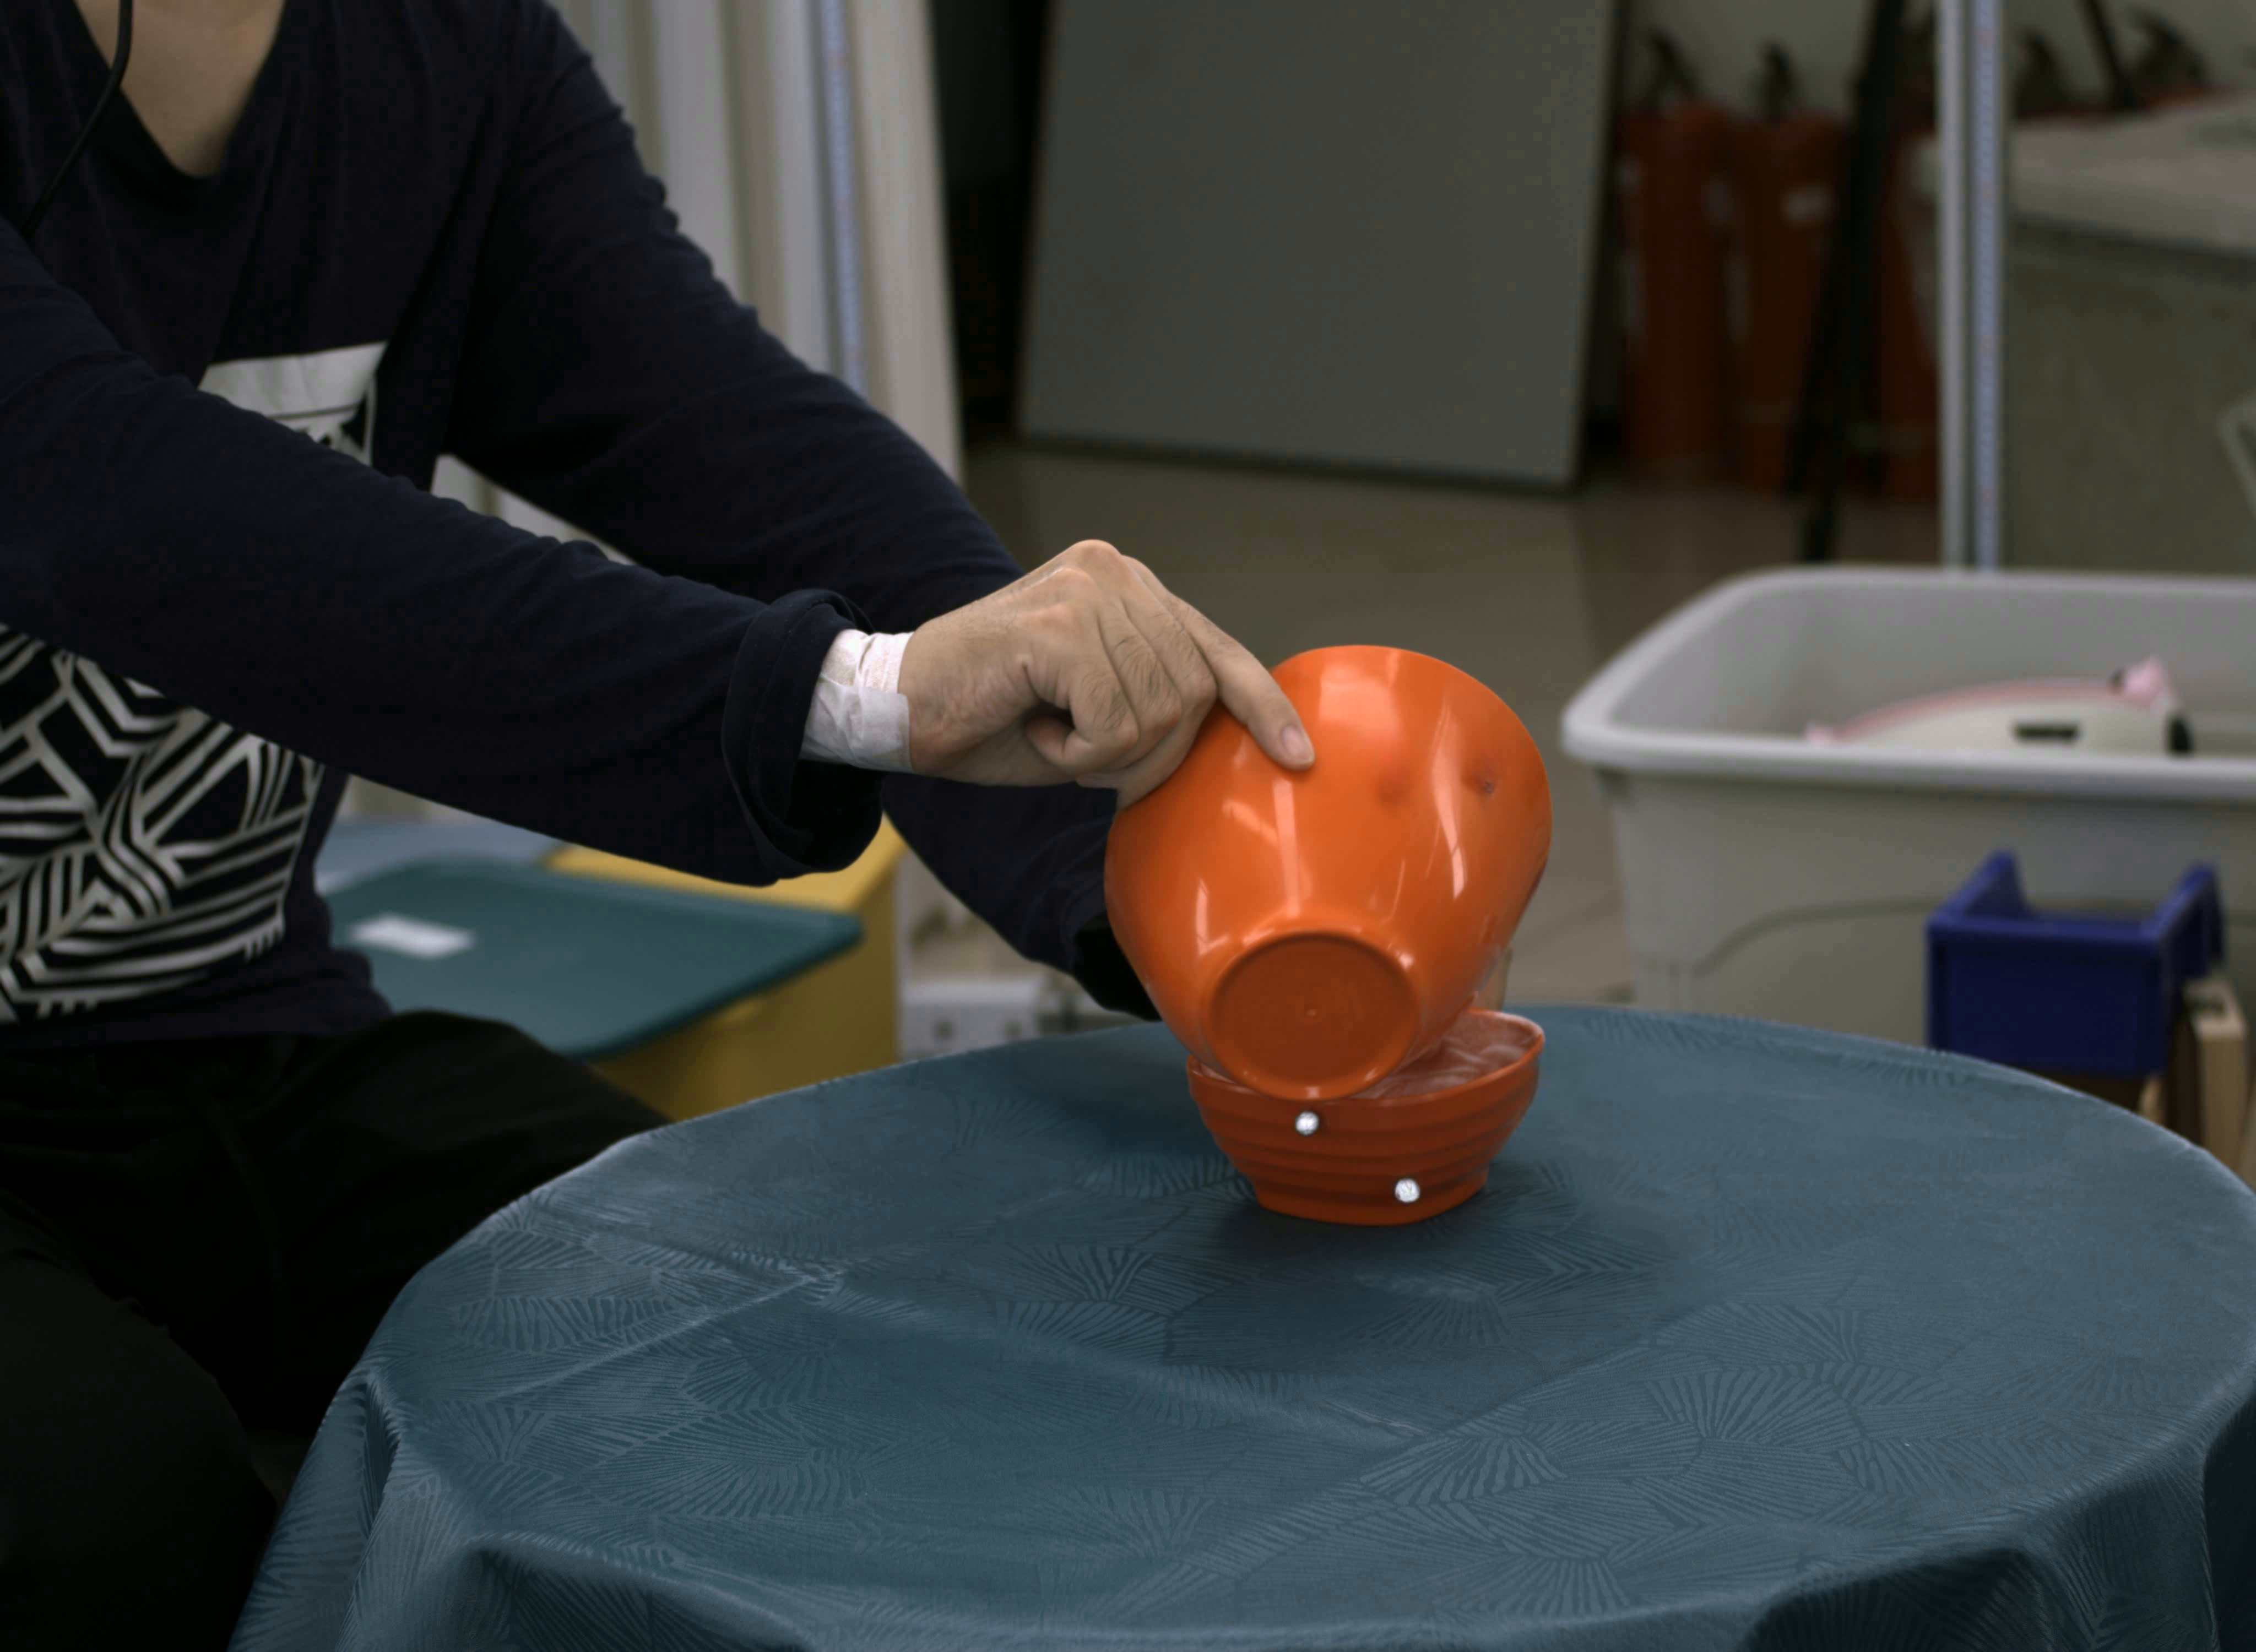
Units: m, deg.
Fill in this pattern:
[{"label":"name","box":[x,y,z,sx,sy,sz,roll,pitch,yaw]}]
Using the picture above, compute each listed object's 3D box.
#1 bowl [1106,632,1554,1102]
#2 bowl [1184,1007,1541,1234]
[{"label":"bowl","box":[0.066,0.027,1.686,0.146,0.149,0.105,-3,31,0]},{"label":"bowl","box":[0.078,0.097,1.750,0.117,0.052,0.119,-6,14,1]}]
